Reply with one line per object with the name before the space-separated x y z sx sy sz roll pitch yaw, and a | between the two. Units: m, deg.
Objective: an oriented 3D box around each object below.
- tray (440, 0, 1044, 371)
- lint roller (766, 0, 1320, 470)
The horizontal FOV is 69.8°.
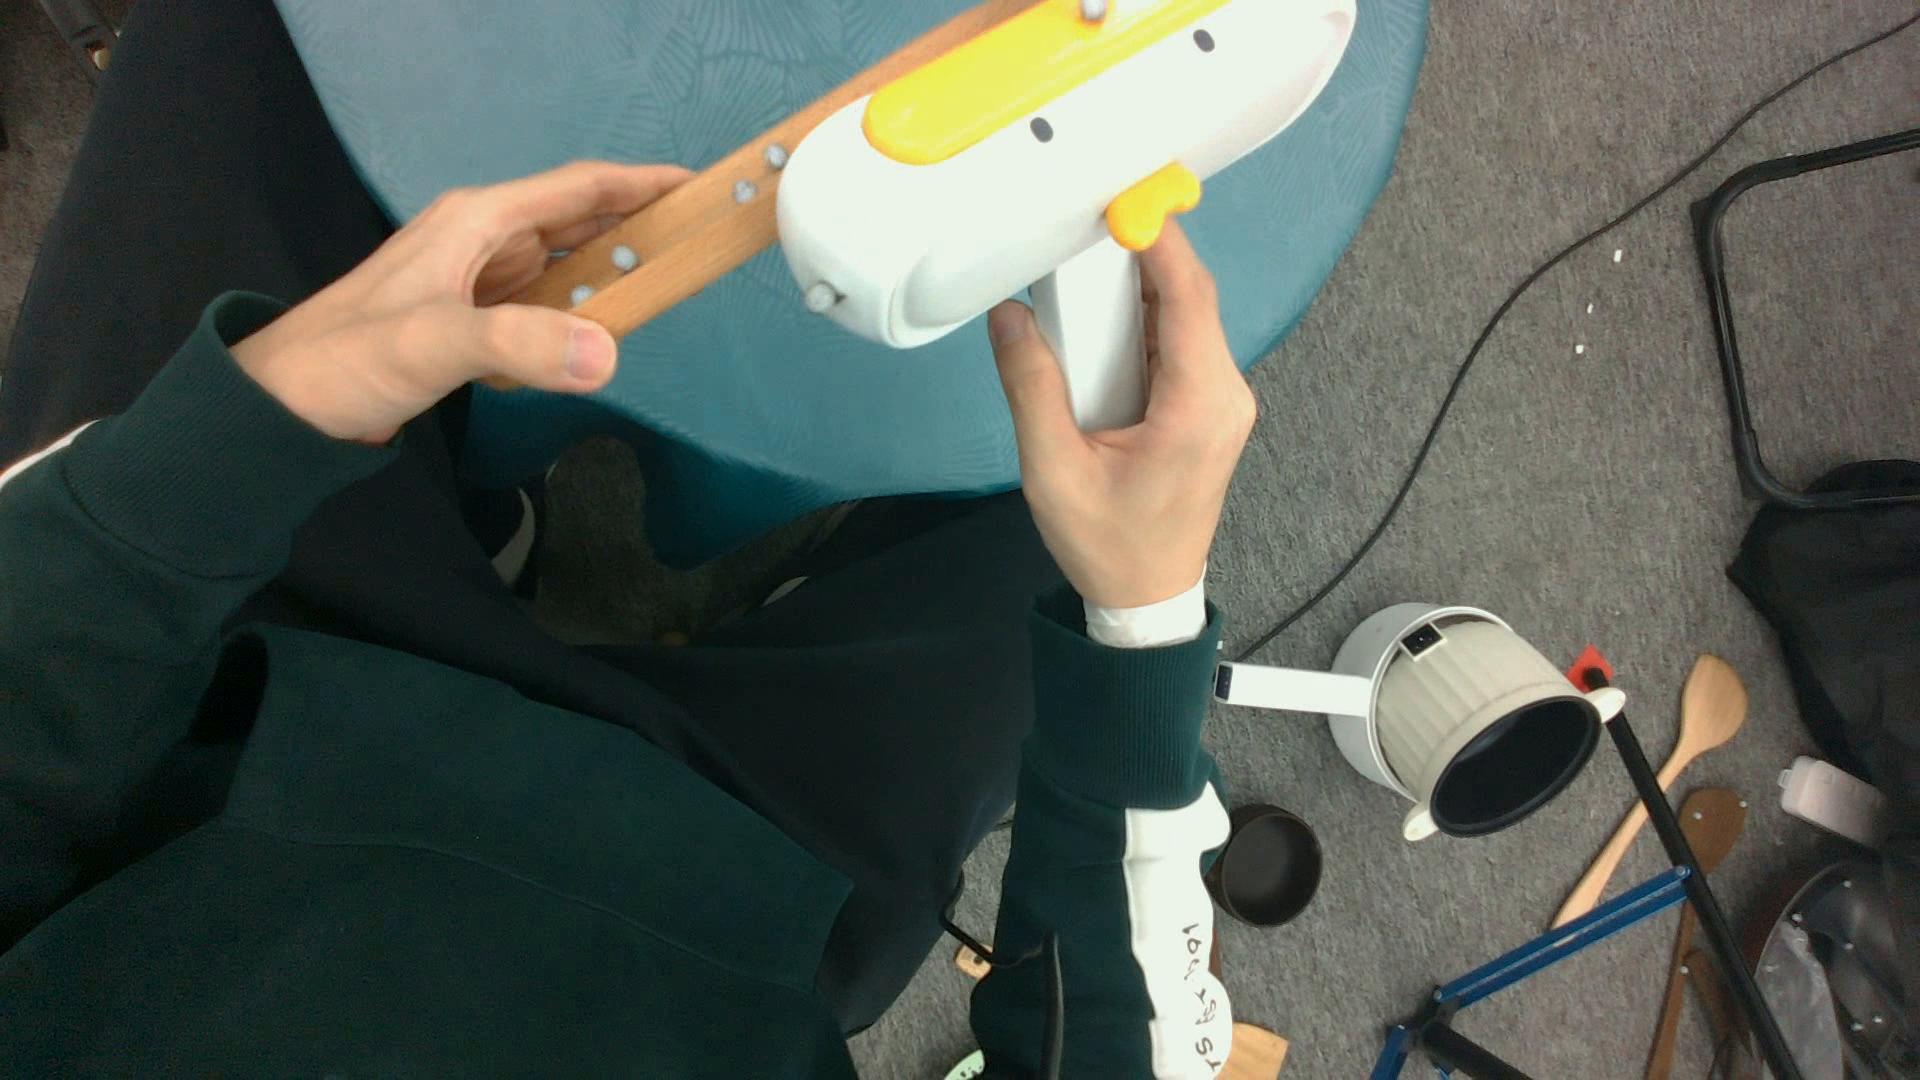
tray | -0.069 -0.127 0.450 0.231 0.102 0.020 -34 118 -5
lint roller | 0.035 -0.097 0.455 0.193 0.191 0.074 -40 67 -20
